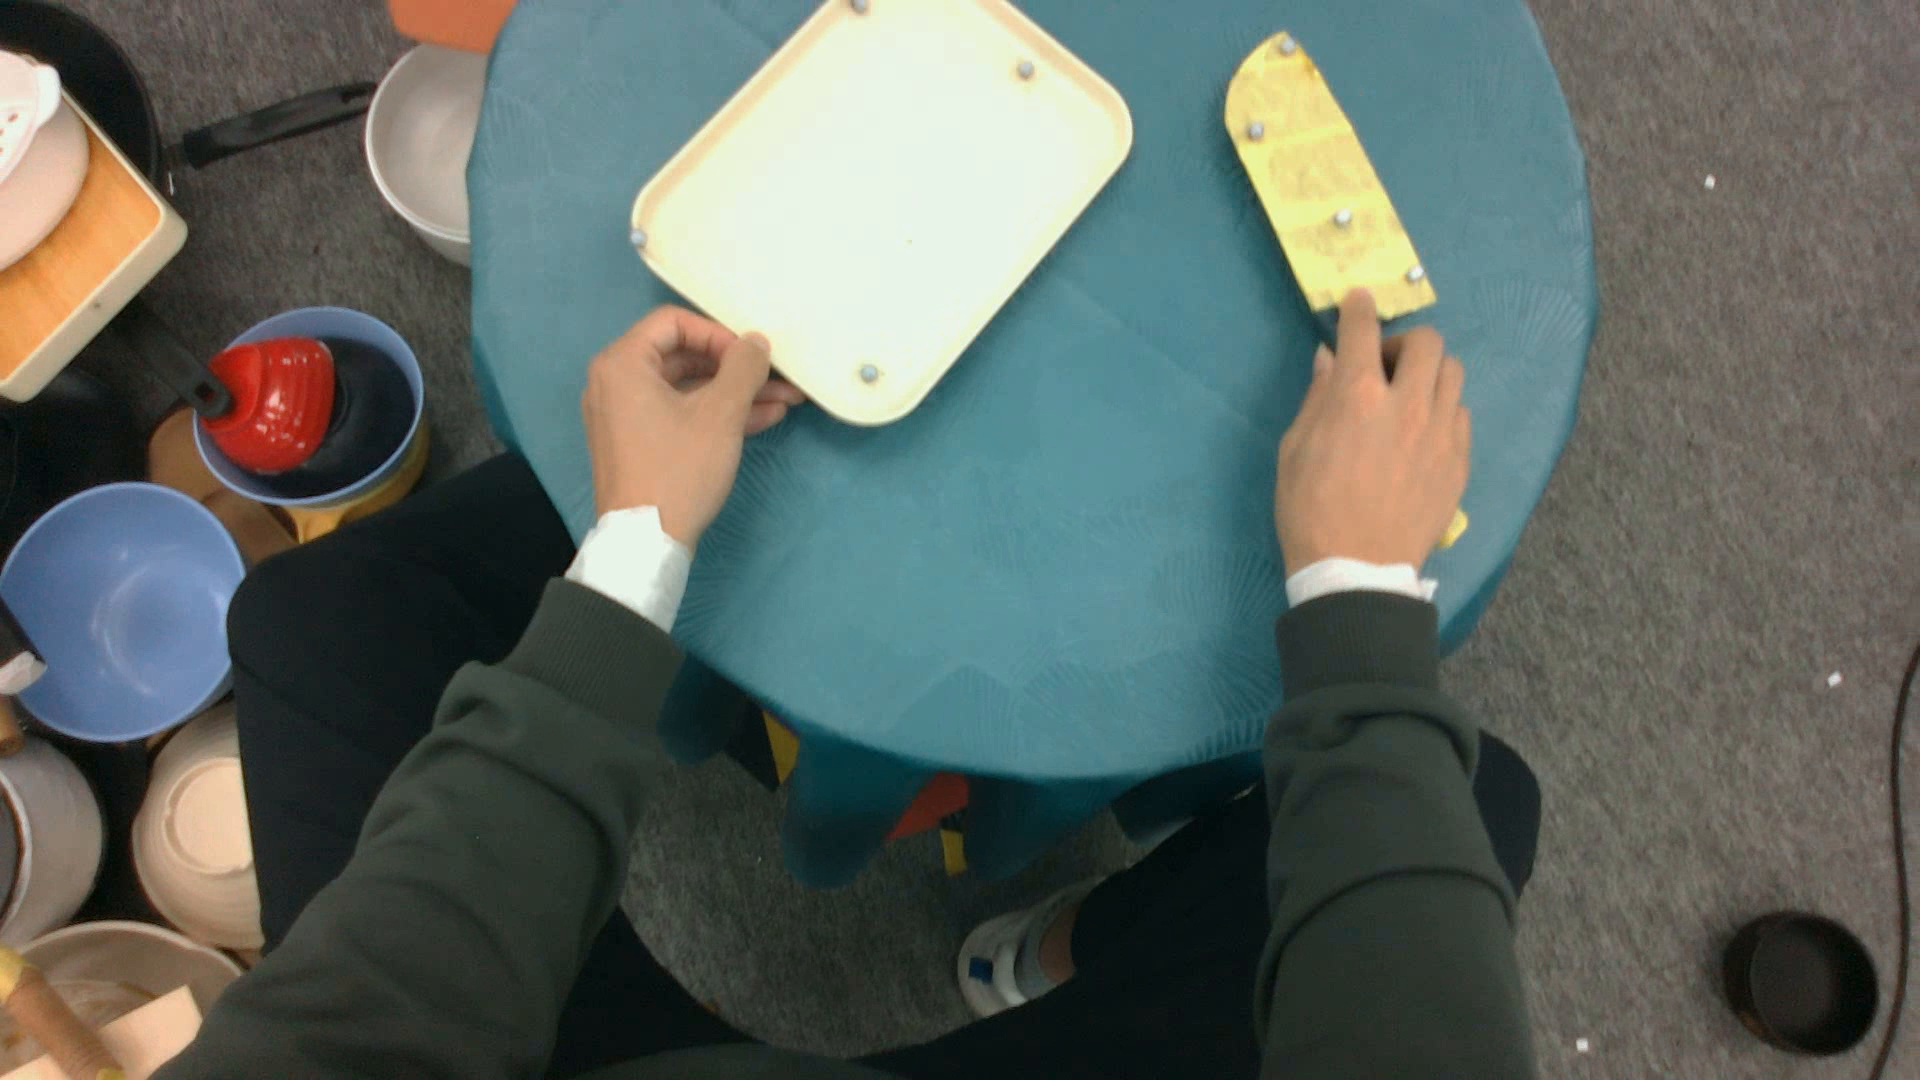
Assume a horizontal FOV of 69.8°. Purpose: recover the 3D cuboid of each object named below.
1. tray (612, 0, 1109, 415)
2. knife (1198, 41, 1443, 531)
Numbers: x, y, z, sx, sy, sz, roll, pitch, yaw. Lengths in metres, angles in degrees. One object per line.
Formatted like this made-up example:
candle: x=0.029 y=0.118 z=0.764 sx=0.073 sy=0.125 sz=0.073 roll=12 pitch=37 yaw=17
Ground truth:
tray: x=-0.046 y=-0.187 z=0.708 sx=0.171 sy=0.017 sz=0.240 roll=38 pitch=71 yaw=1
knife: x=0.197 y=-0.142 z=0.726 sx=0.081 sy=0.027 sz=0.290 roll=-15 pitch=77 yaw=-17
